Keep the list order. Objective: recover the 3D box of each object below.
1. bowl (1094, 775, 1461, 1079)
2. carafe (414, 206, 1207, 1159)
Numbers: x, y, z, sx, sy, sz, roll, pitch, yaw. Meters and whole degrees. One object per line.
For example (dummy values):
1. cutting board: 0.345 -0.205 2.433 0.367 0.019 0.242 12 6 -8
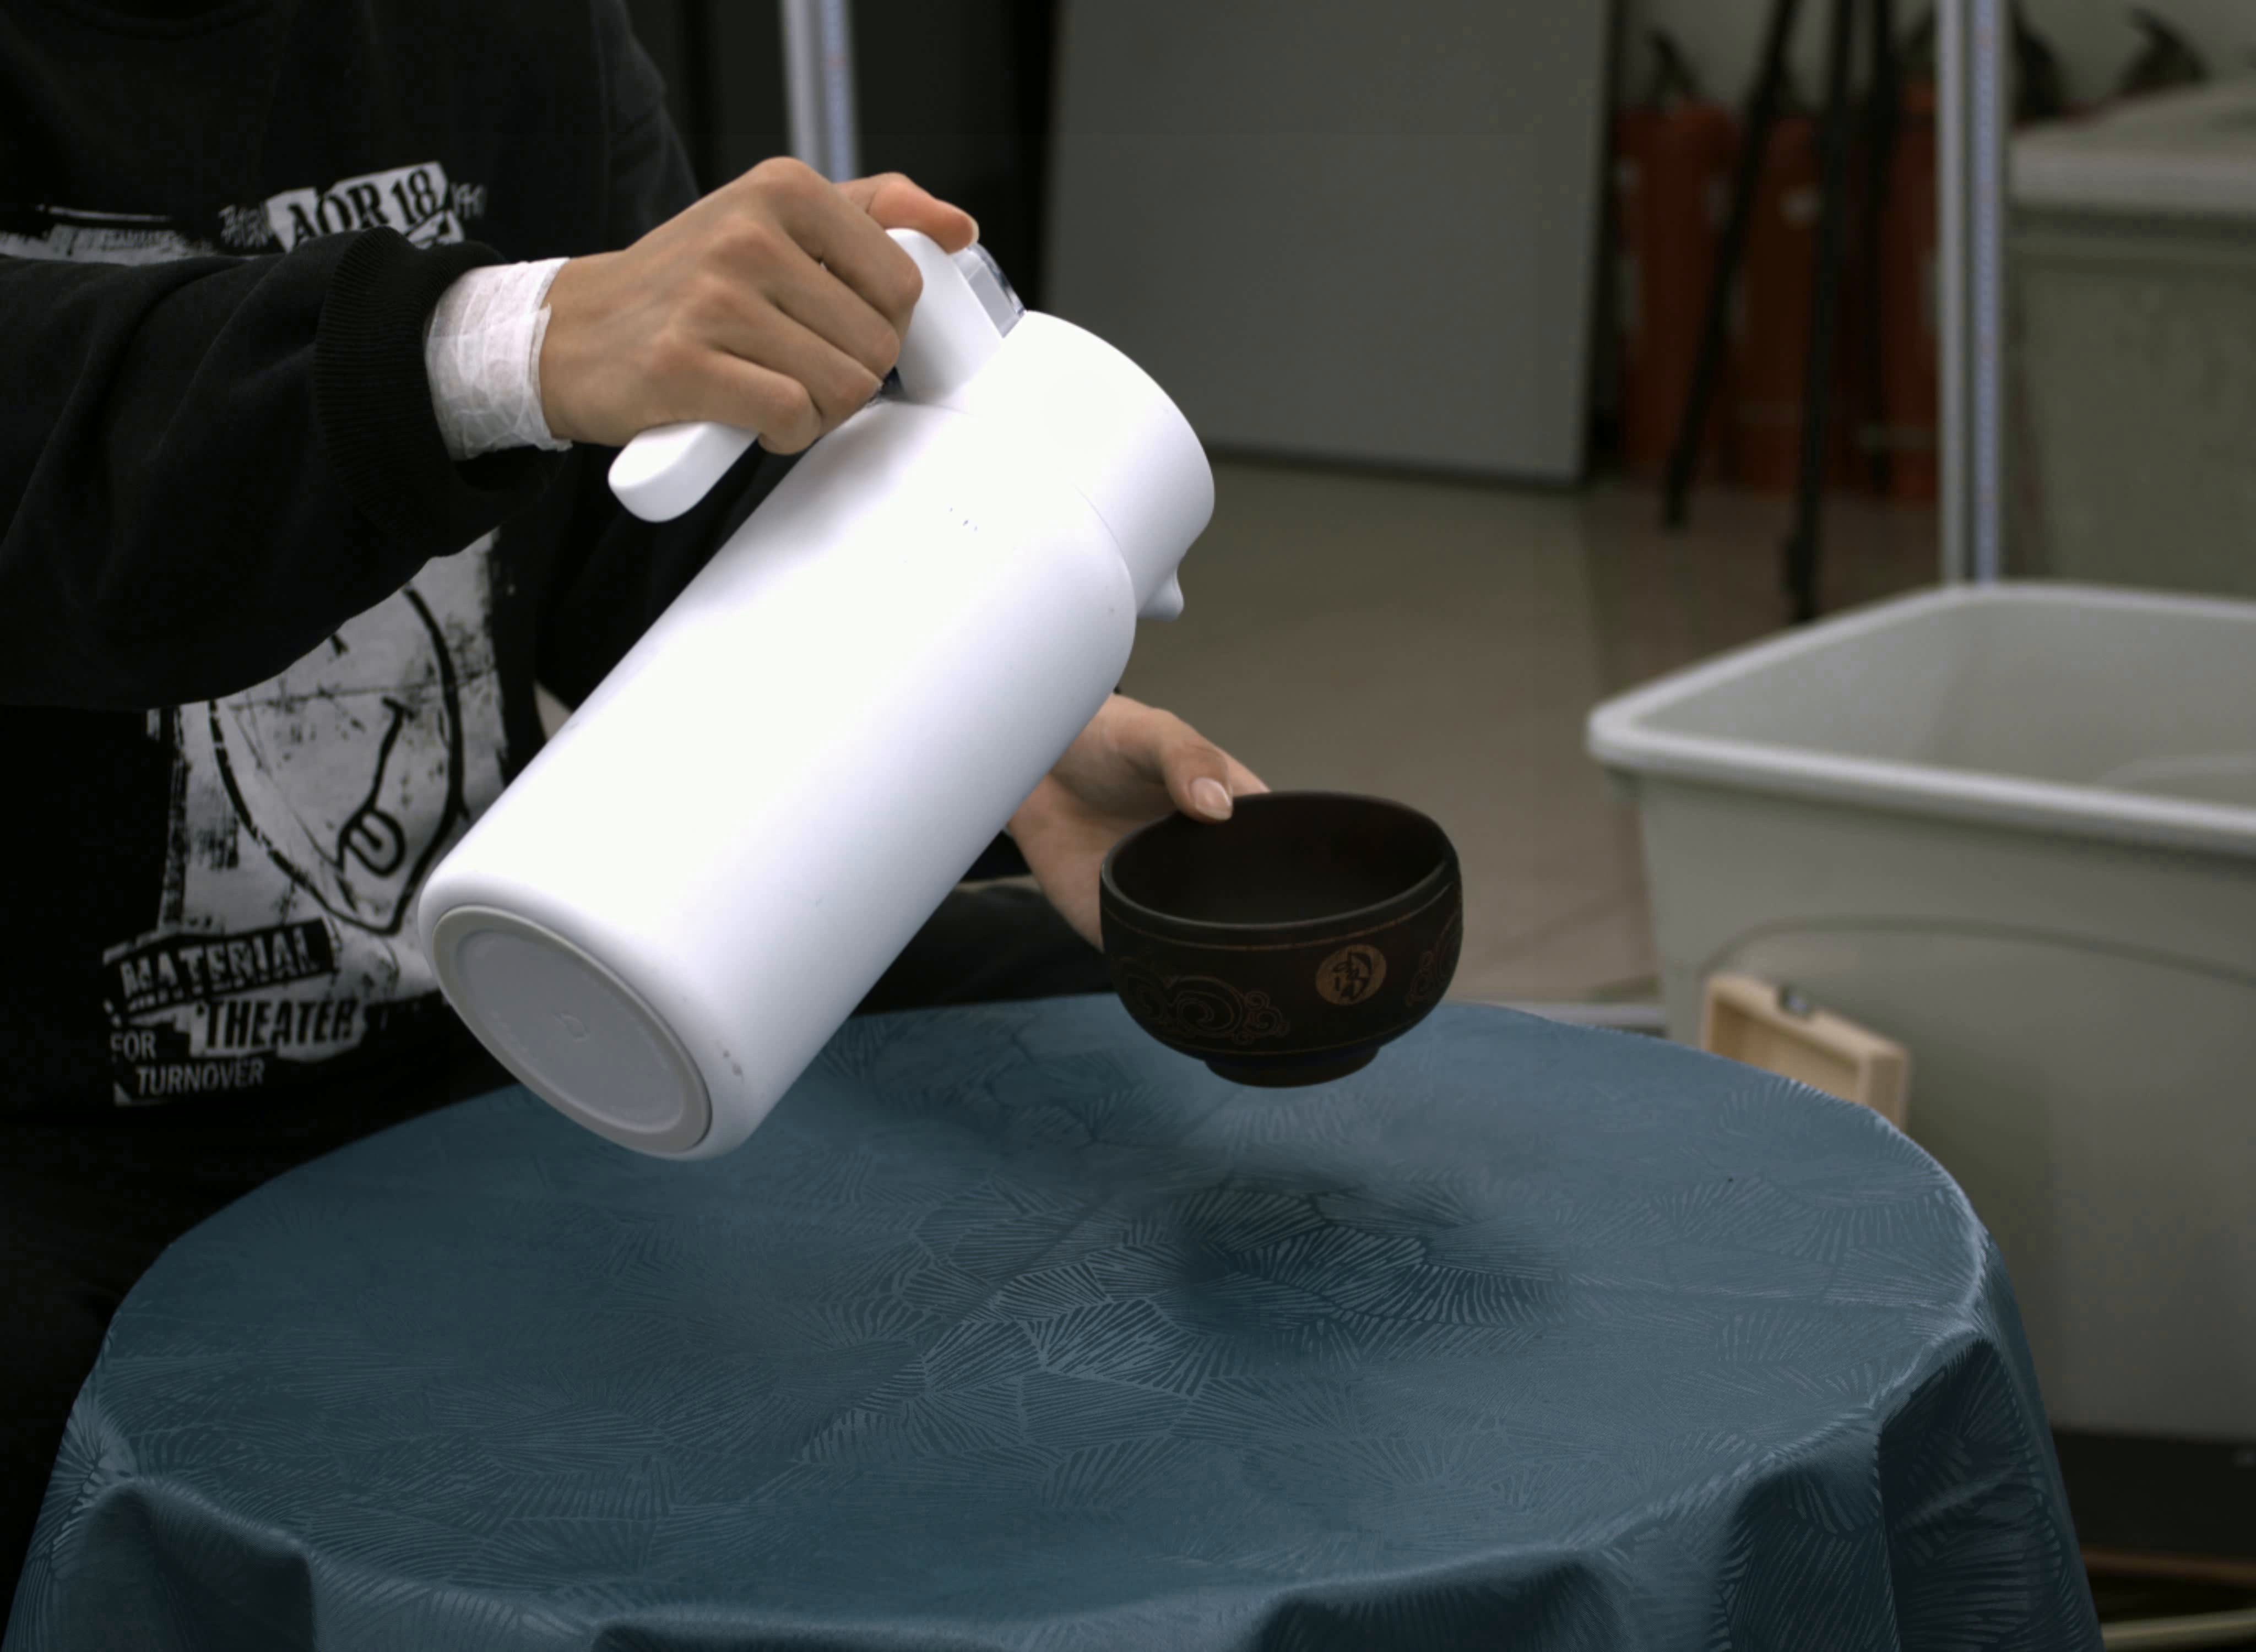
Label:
1. bowl: 0.049 0.037 1.713 0.116 0.070 0.118 -6 21 1
2. carafe: -0.094 -0.048 1.568 0.125 0.172 0.267 4 46 48
